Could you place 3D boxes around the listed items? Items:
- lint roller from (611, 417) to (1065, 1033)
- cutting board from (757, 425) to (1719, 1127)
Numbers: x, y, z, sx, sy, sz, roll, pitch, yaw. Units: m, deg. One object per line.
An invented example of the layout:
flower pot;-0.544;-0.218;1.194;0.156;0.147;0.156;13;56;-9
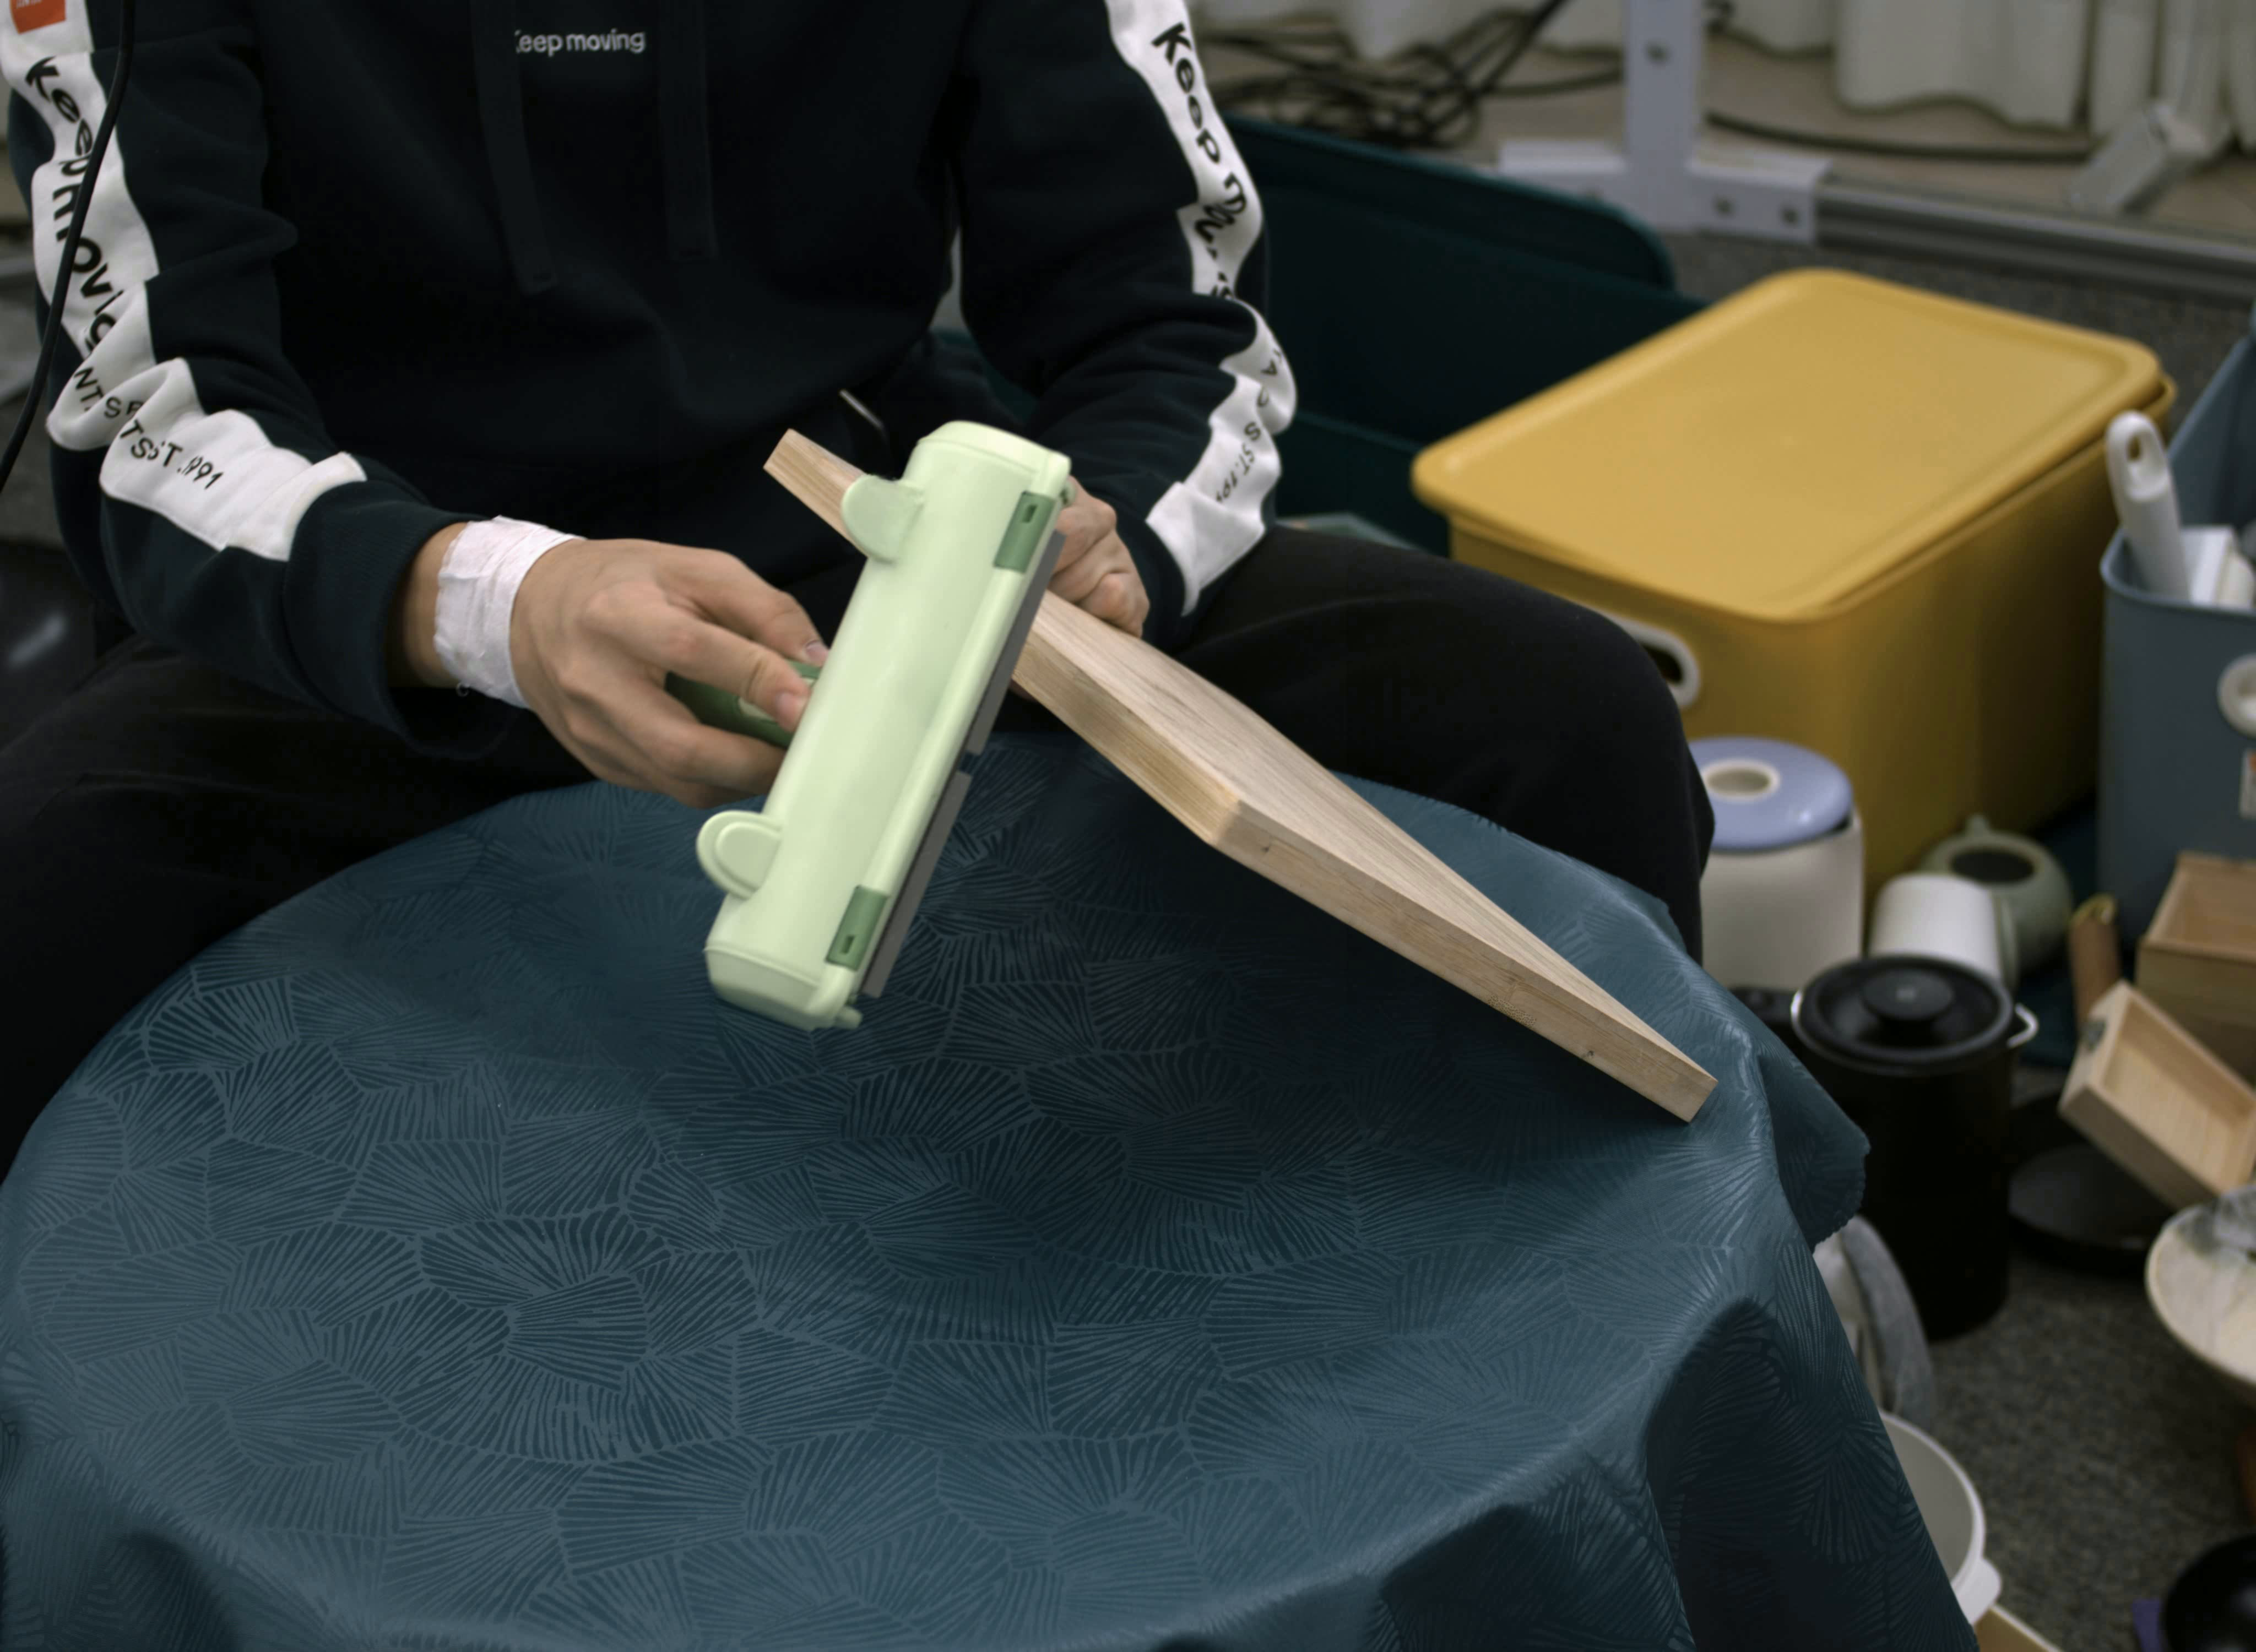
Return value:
lint roller;-0.120;-0.044;1.802;0.182;0.200;0.082;13;-14;41
cutting board;0.031;-0.022;1.949;0.249;0.023;0.350;31;6;-38
